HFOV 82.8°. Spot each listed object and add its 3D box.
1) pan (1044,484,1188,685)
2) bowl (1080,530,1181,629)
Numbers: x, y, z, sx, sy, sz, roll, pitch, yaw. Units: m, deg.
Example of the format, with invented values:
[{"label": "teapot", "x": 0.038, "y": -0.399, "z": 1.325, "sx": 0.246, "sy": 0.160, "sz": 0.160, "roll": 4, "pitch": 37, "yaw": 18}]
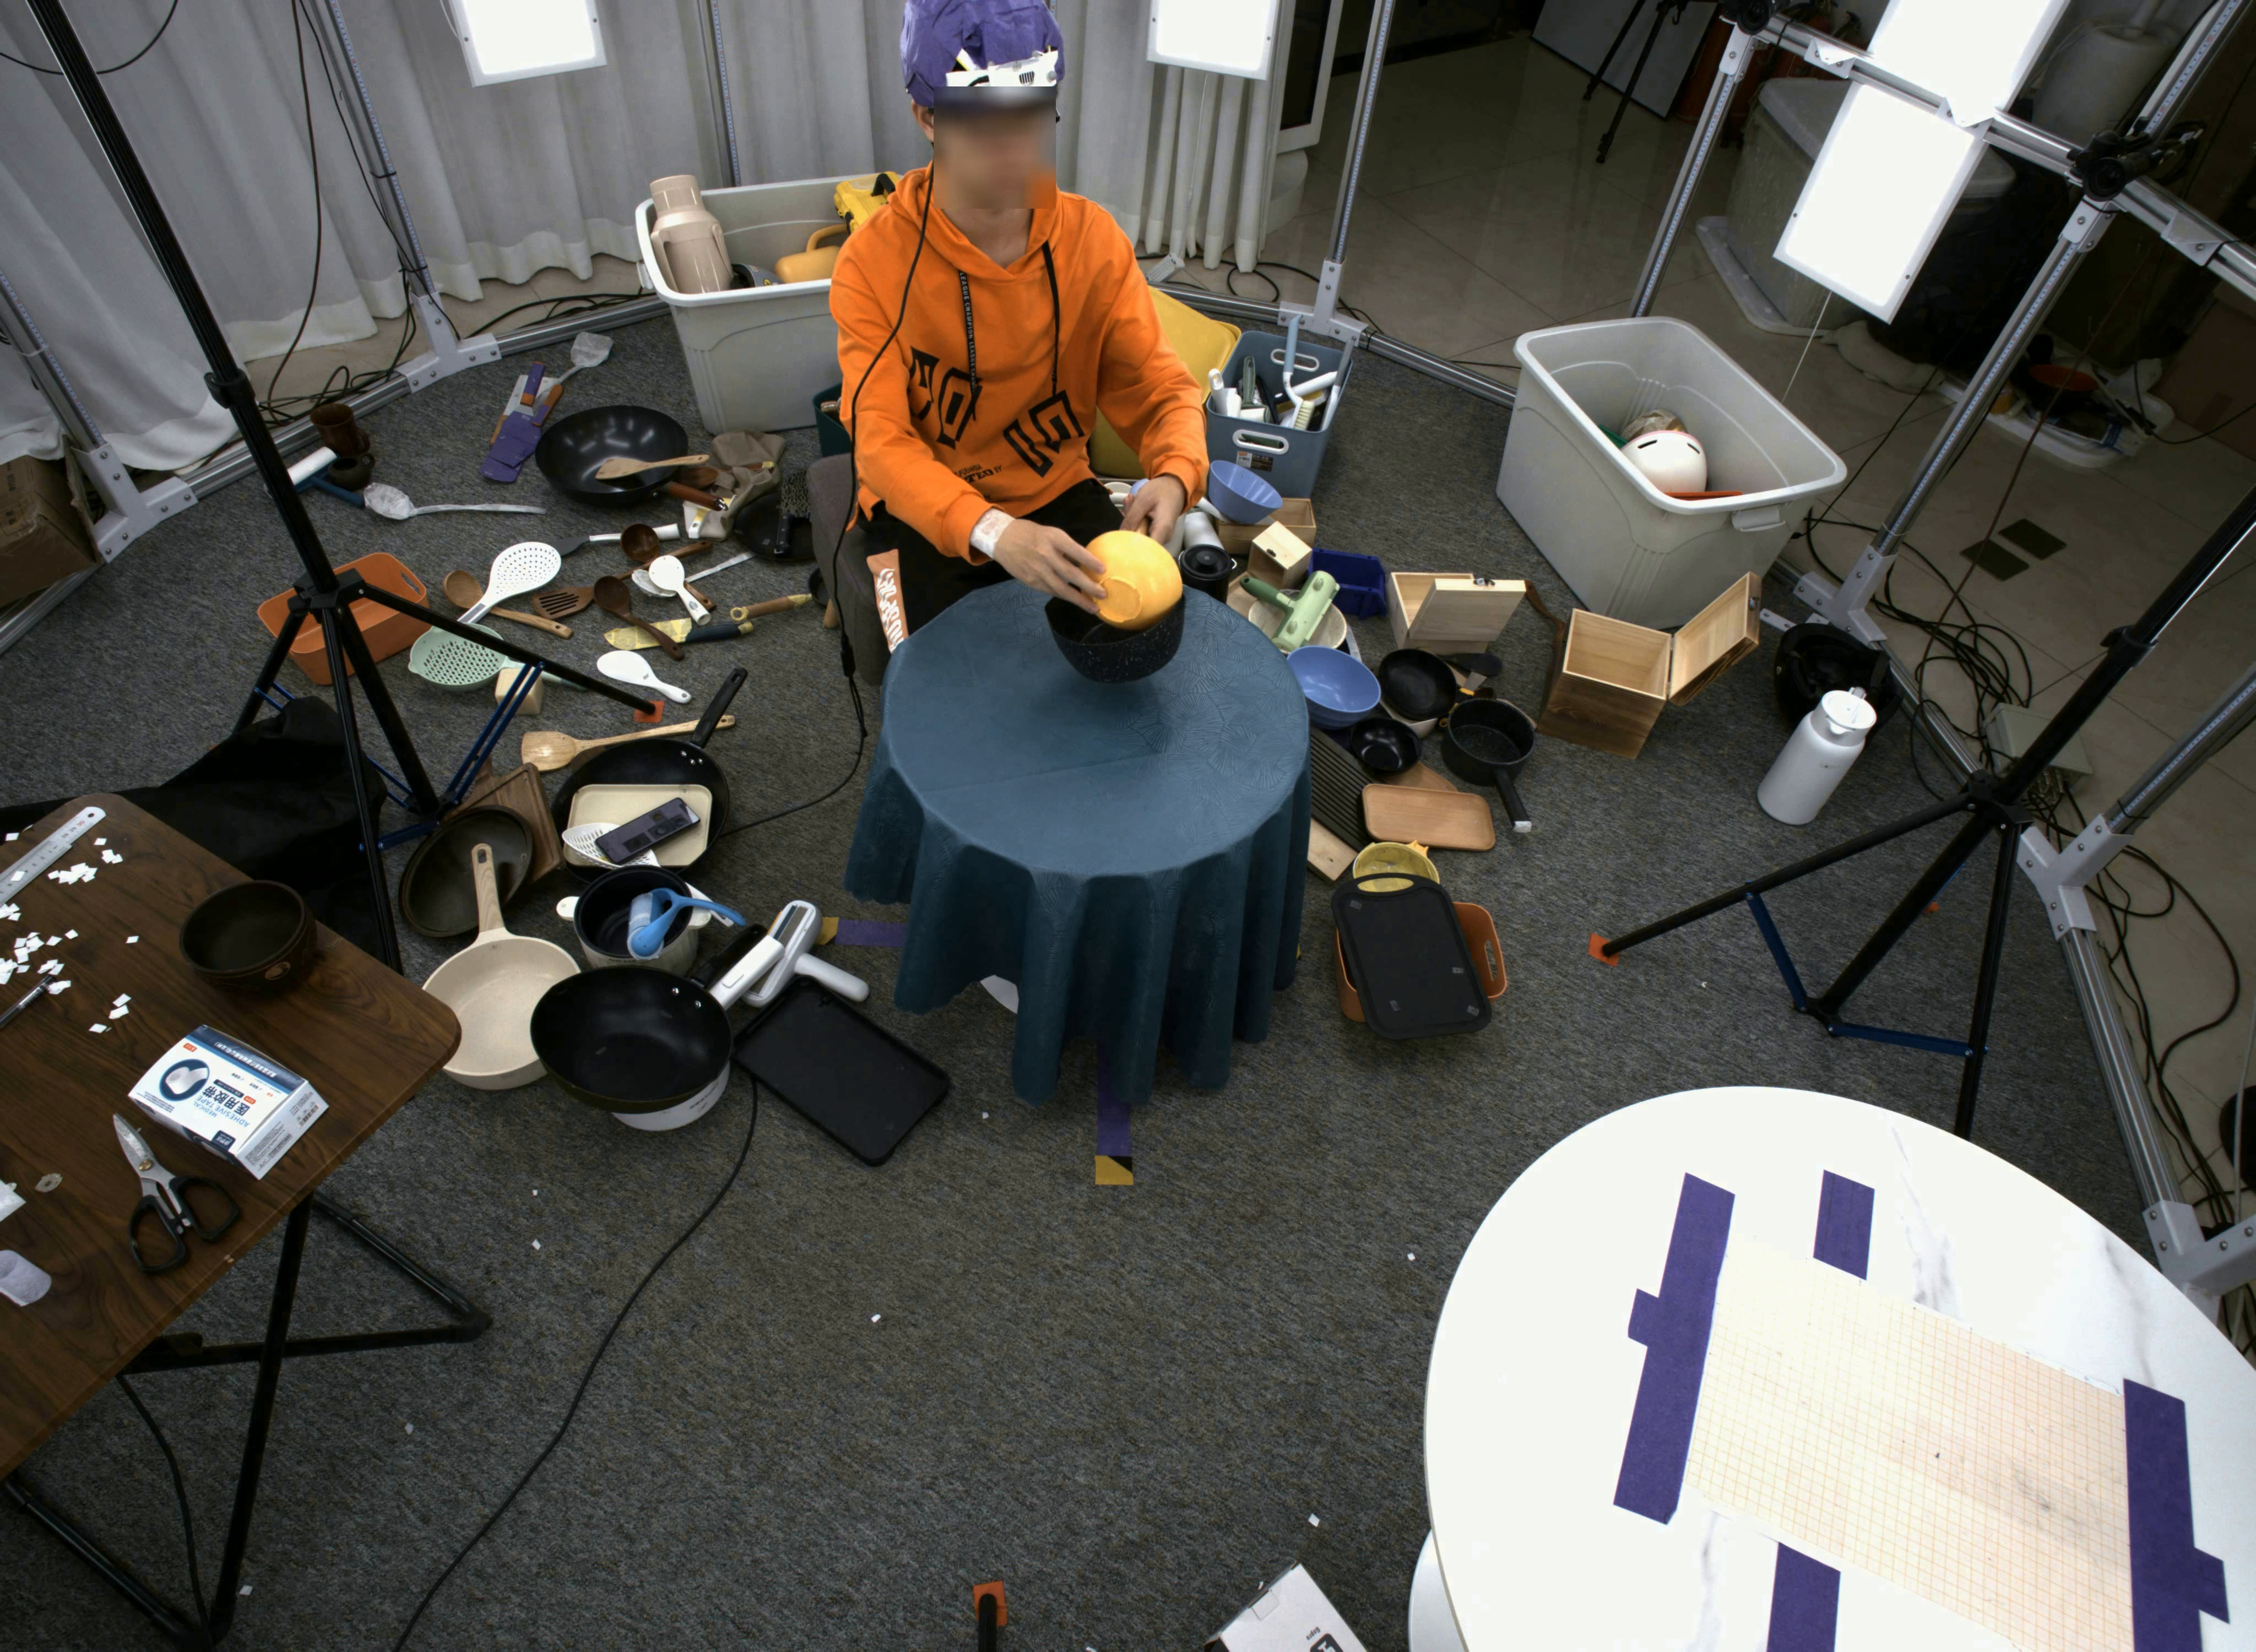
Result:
[{"label": "pan", "x": 0.002, "y": -0.340, "z": 1.809, "sx": 0.208, "sy": 0.105, "sz": 0.351, "roll": -2, "pitch": 46, "yaw": 17}, {"label": "bowl", "x": -0.006, "y": -0.313, "z": 1.702, "sx": 0.146, "sy": 0.142, "sz": 0.061, "roll": 19, "pitch": 47, "yaw": 11}]
